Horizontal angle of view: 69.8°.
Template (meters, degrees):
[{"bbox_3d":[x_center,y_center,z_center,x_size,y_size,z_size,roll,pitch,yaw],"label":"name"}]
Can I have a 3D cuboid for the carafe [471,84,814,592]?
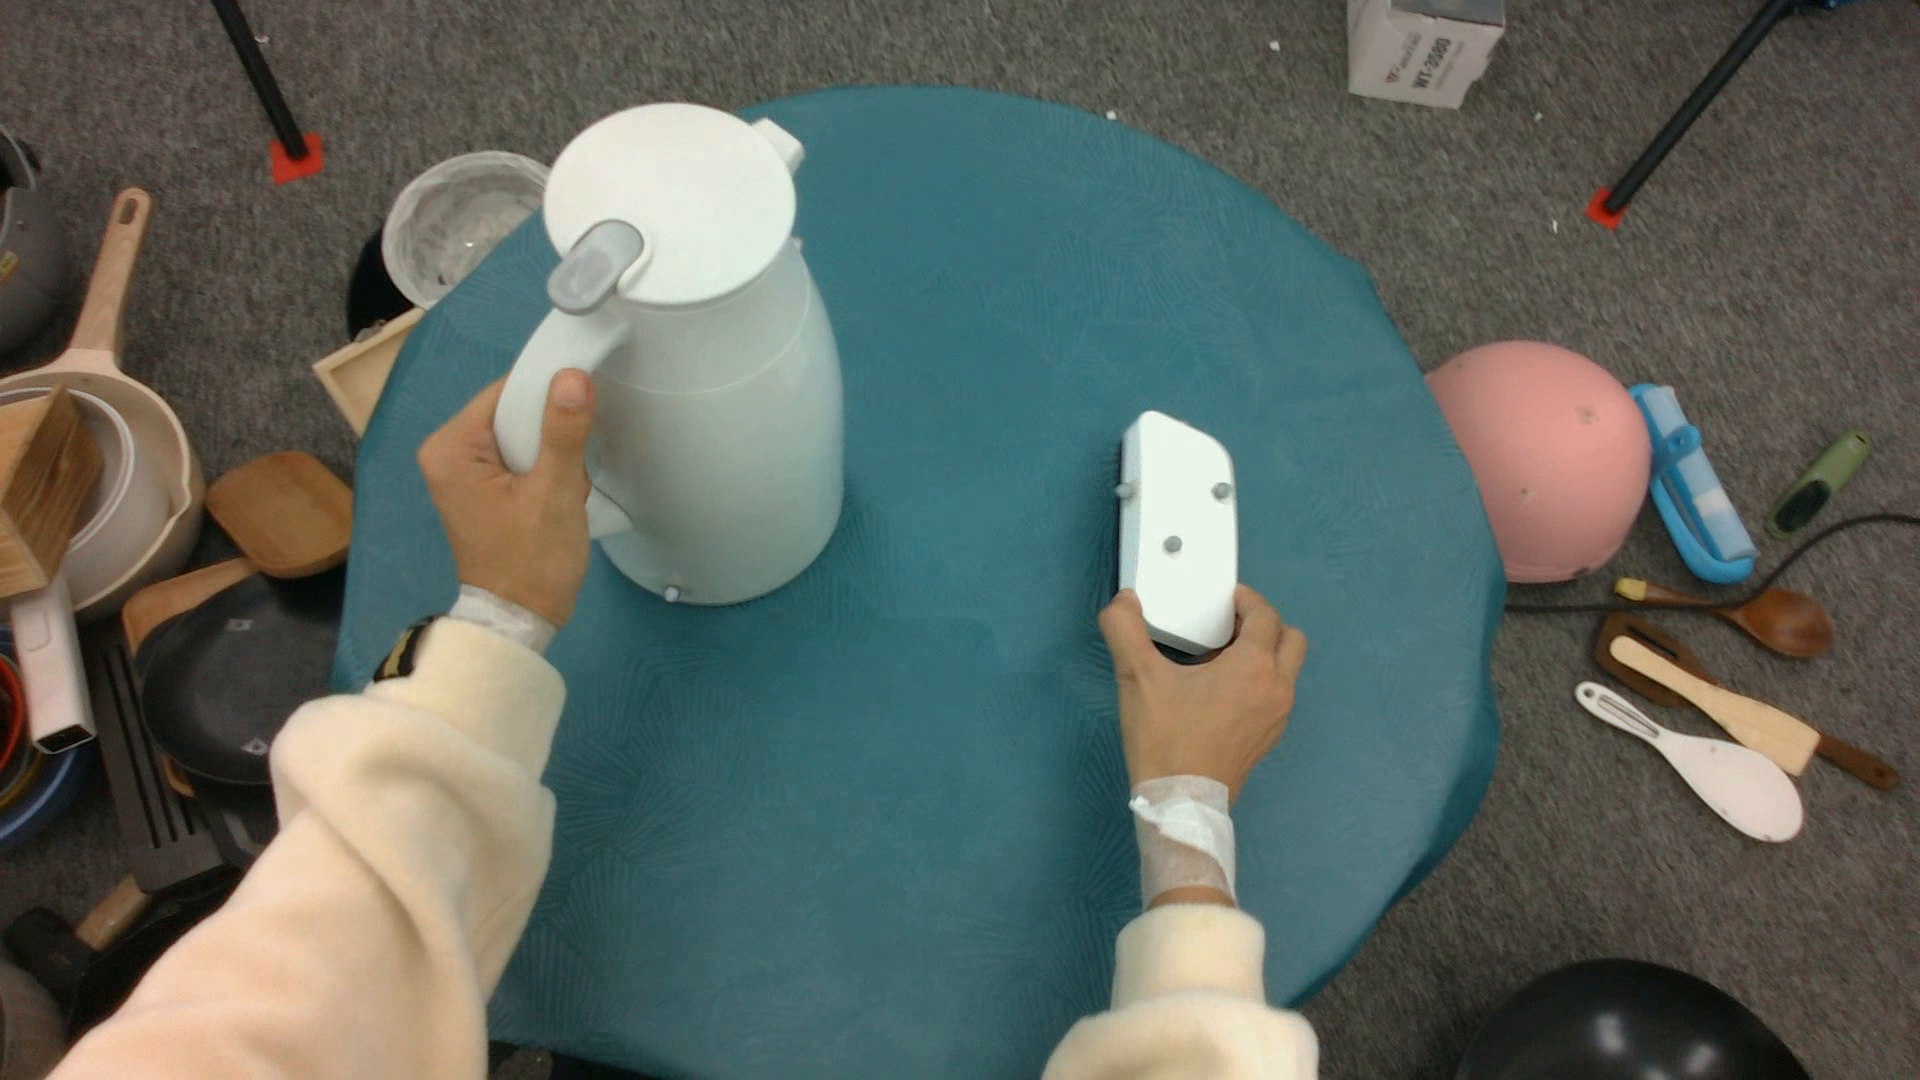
[{"bbox_3d":[-0.139,-0.069,0.603,0.132,0.247,0.168,33,66,8],"label":"carafe"}]

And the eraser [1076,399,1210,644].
[{"bbox_3d":[0.091,-0.012,0.697,0.063,0.034,0.132,18,52,-24],"label":"eraser"}]
